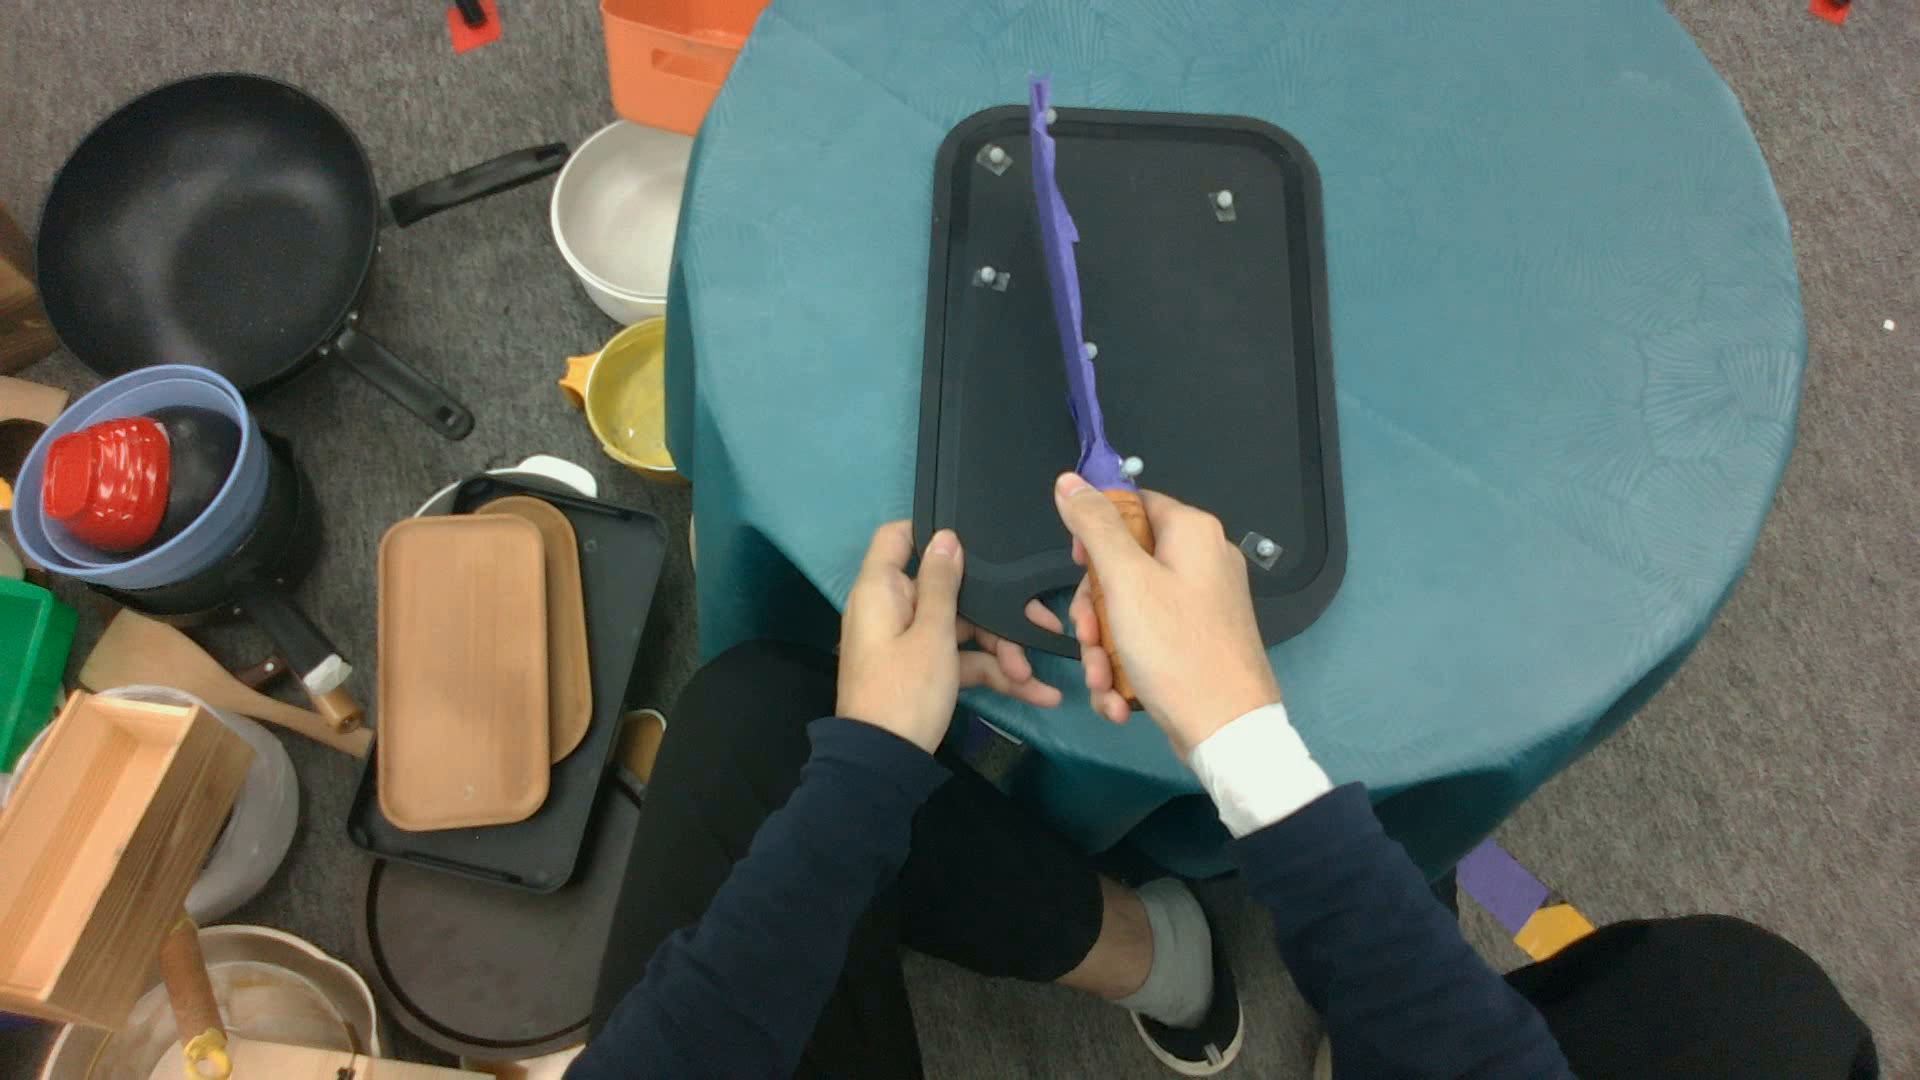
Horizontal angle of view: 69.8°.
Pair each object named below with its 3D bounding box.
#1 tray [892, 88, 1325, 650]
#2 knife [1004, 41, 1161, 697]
[{"bbox_3d":[0.077,-0.099,0.699,0.211,0.010,0.326,3,67,-1],"label":"tray"},{"bbox_3d":[0.050,-0.075,0.636,0.032,0.103,0.316,-8,69,3],"label":"knife"}]
